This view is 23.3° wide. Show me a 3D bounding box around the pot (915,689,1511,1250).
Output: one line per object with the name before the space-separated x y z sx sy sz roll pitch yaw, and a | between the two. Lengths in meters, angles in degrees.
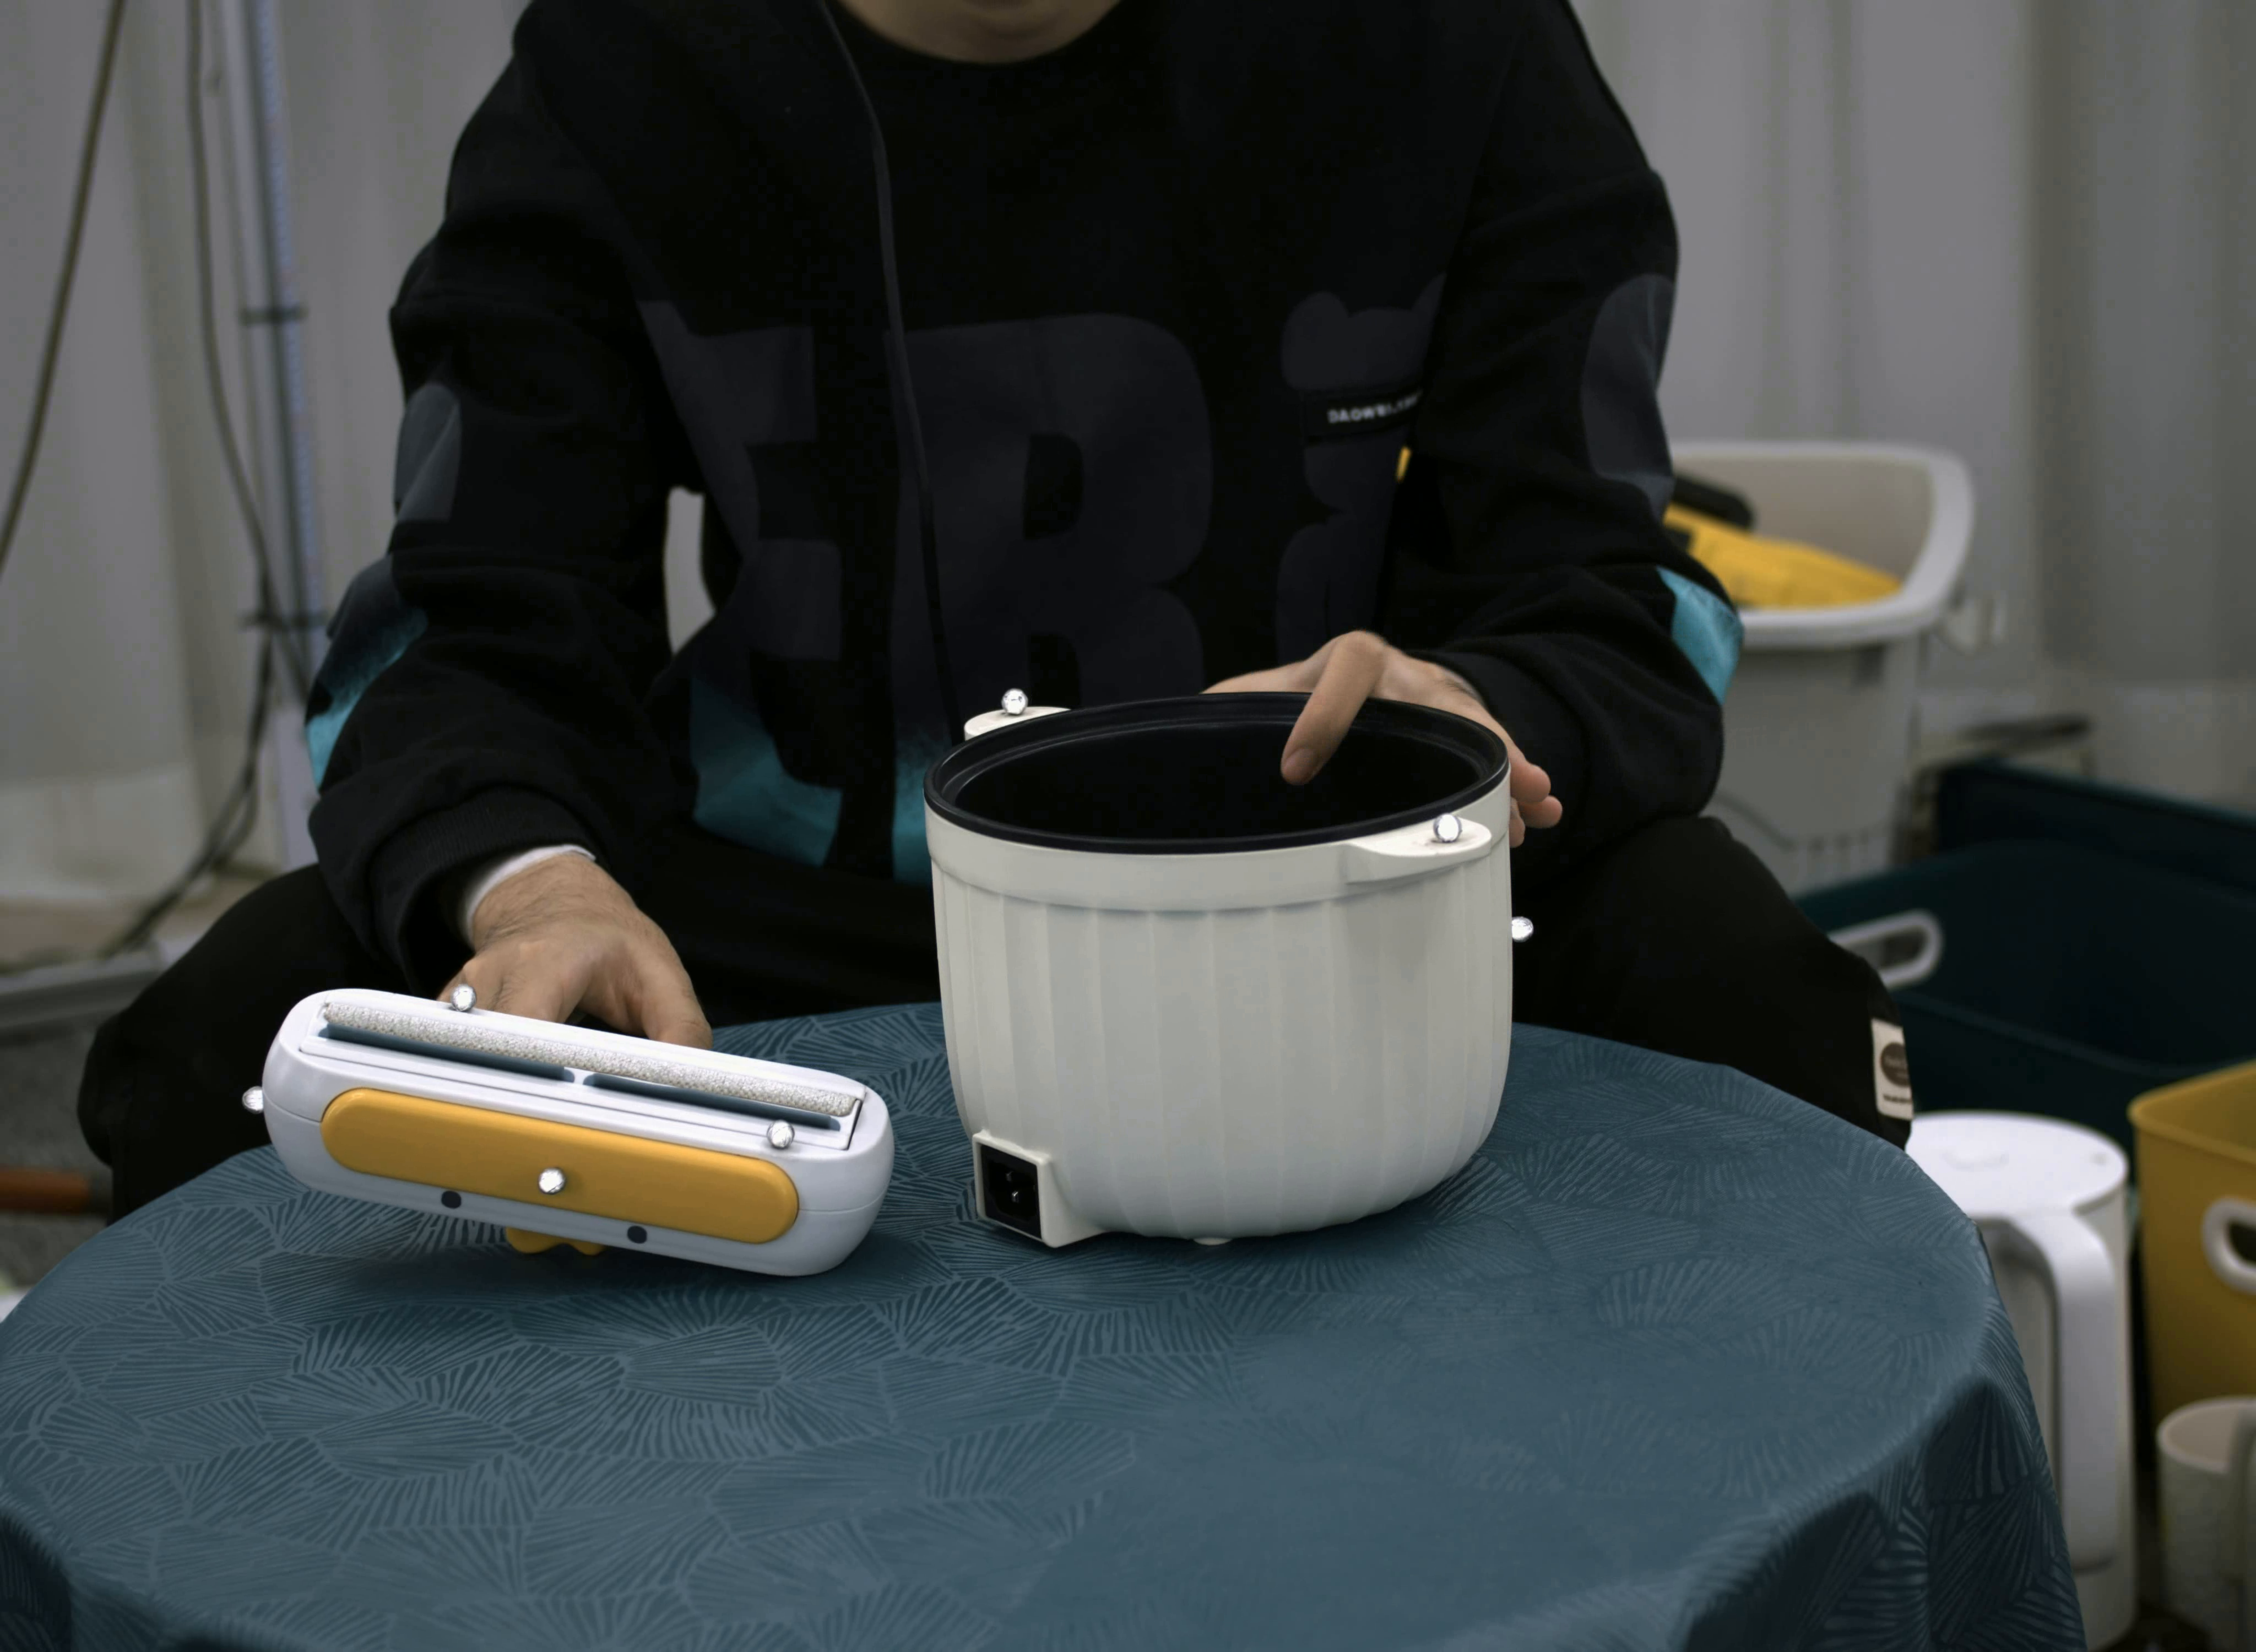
pot | 0.034 0.043 1.705 0.190 0.142 0.242 -17 21 -34

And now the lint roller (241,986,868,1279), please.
lint roller | -0.168 0.086 1.726 0.192 0.074 0.193 7 14 7
